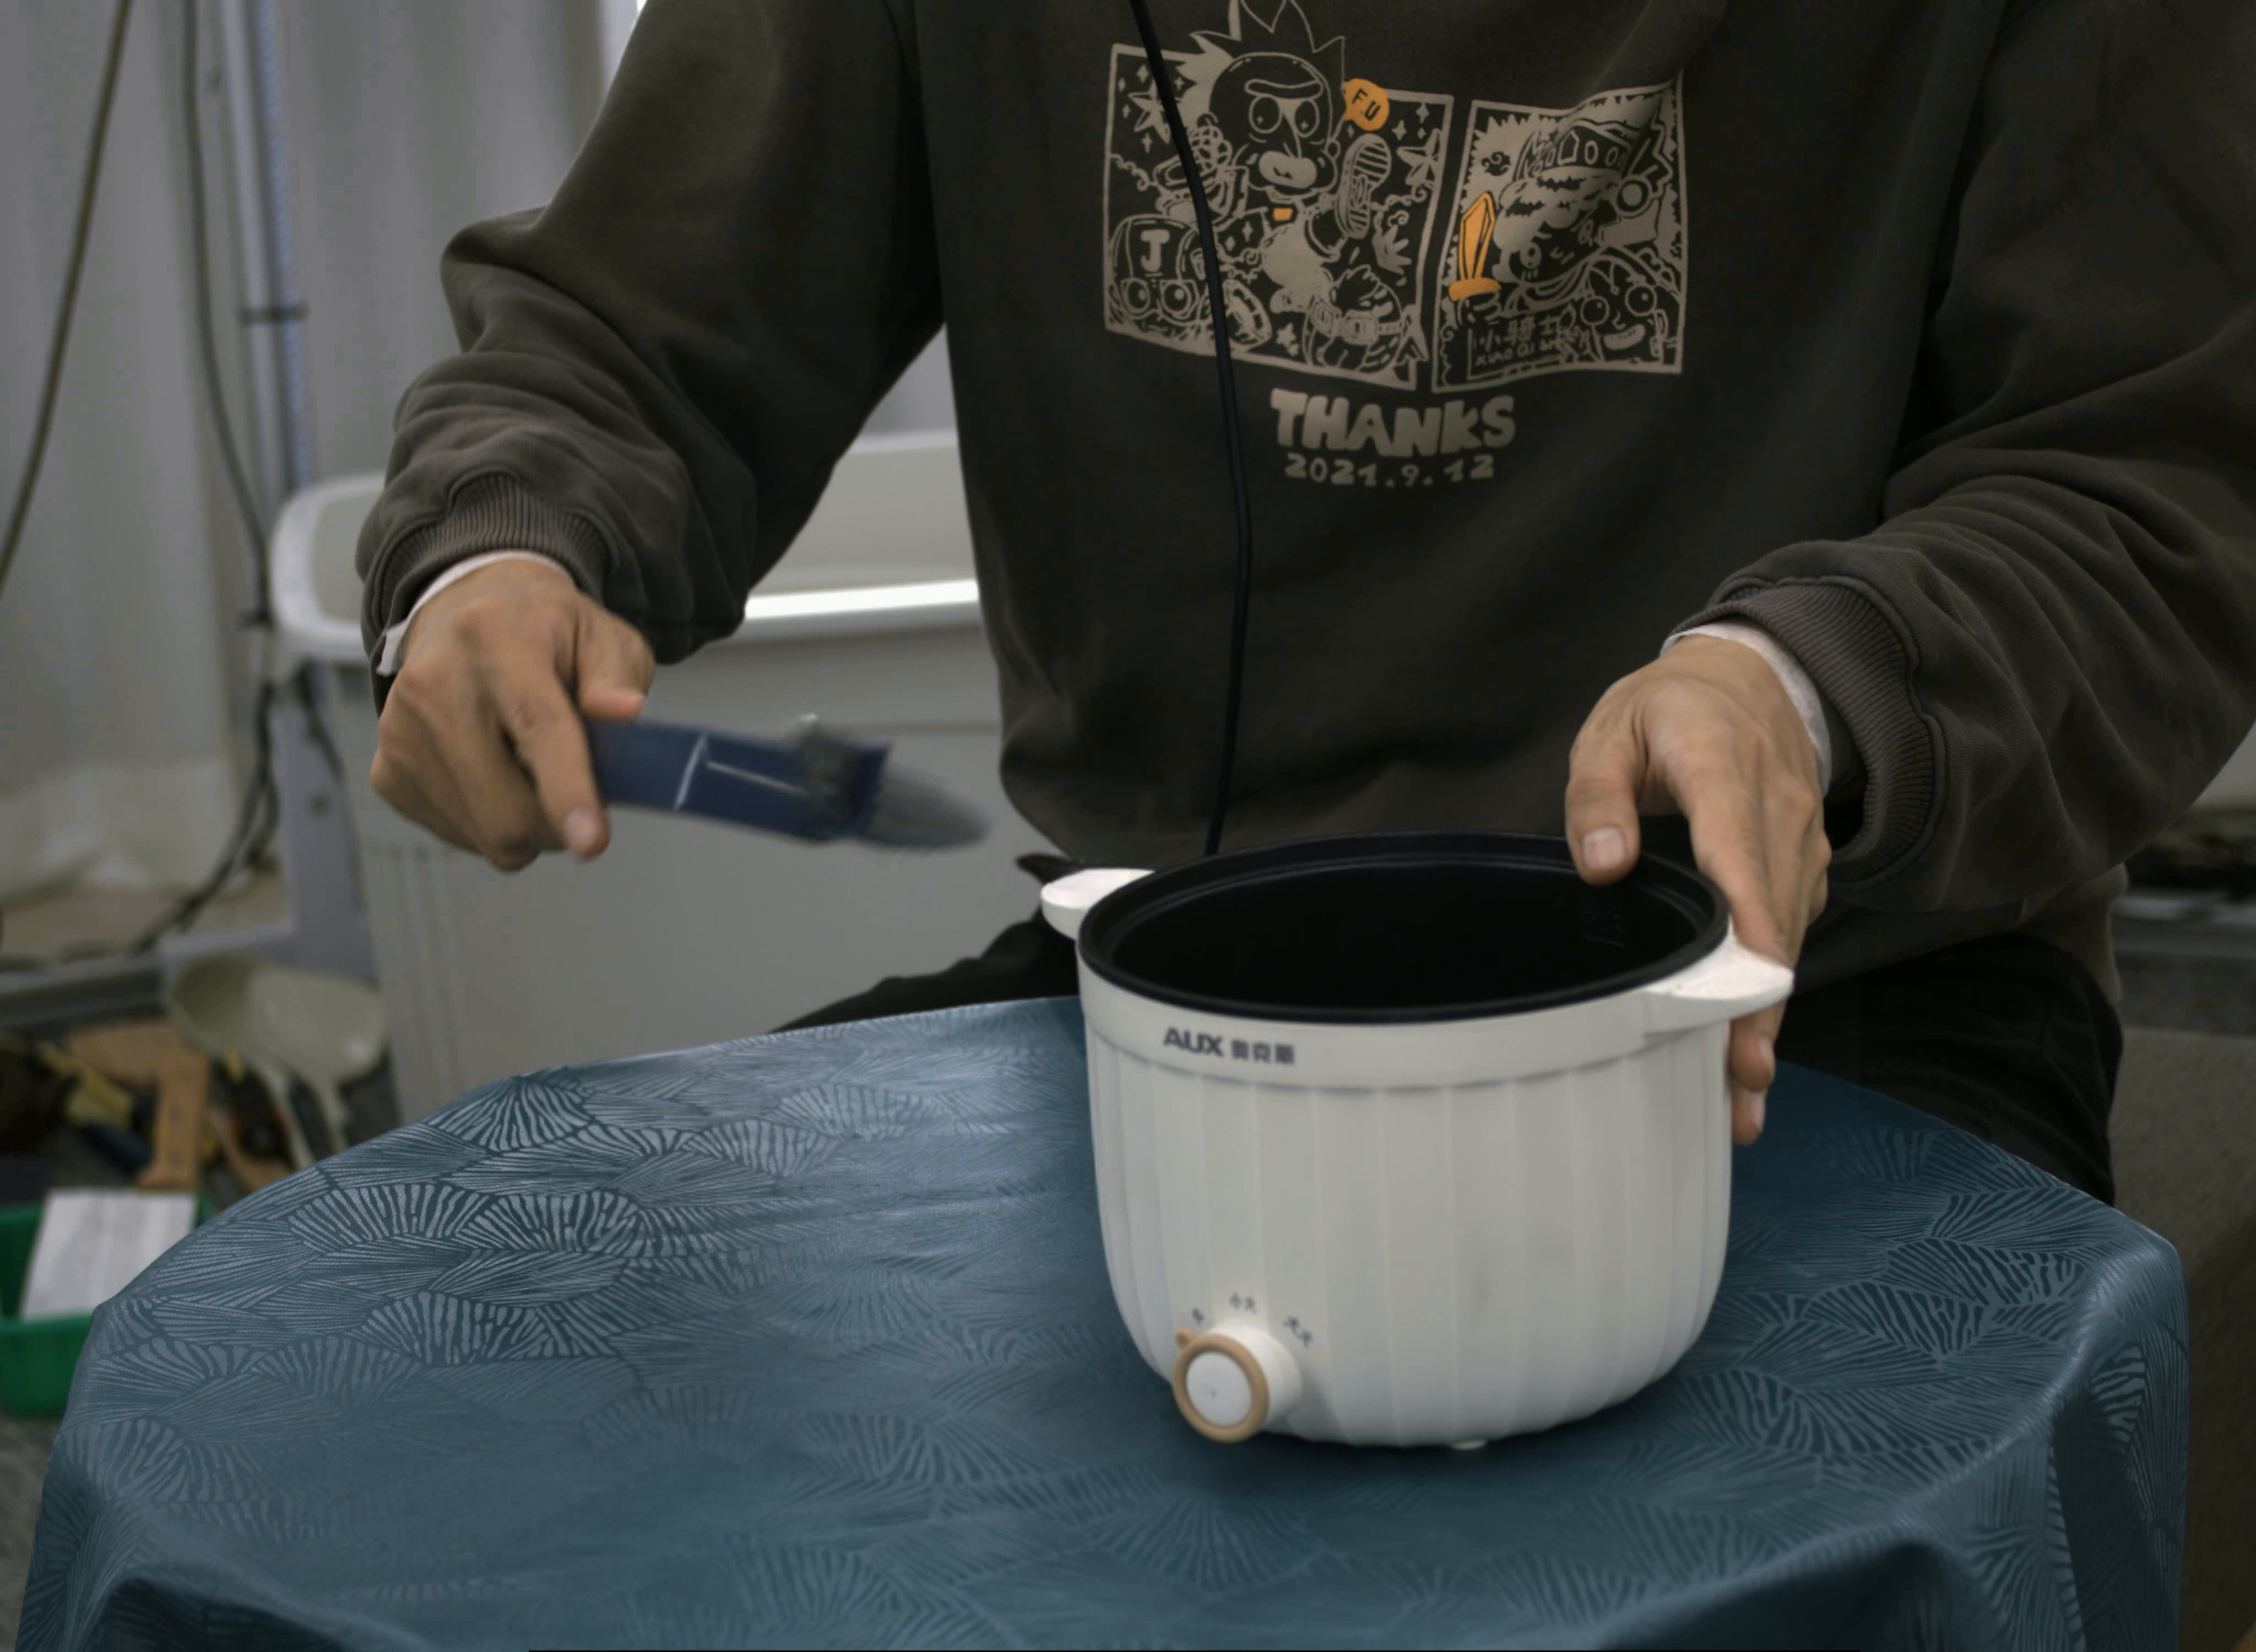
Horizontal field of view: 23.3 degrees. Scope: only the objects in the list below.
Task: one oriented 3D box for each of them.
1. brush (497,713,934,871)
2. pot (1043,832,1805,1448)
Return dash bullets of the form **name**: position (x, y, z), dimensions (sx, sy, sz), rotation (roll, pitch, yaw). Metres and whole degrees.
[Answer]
- **brush**: position (-0.138, -0.013, 1.561), dimensions (0.095, 0.033, 0.274), rotation (16, -4, -34)
- **pot**: position (0.078, 0.091, 1.530), dimensions (0.241, 0.142, 0.190), rotation (6, 14, 34)
